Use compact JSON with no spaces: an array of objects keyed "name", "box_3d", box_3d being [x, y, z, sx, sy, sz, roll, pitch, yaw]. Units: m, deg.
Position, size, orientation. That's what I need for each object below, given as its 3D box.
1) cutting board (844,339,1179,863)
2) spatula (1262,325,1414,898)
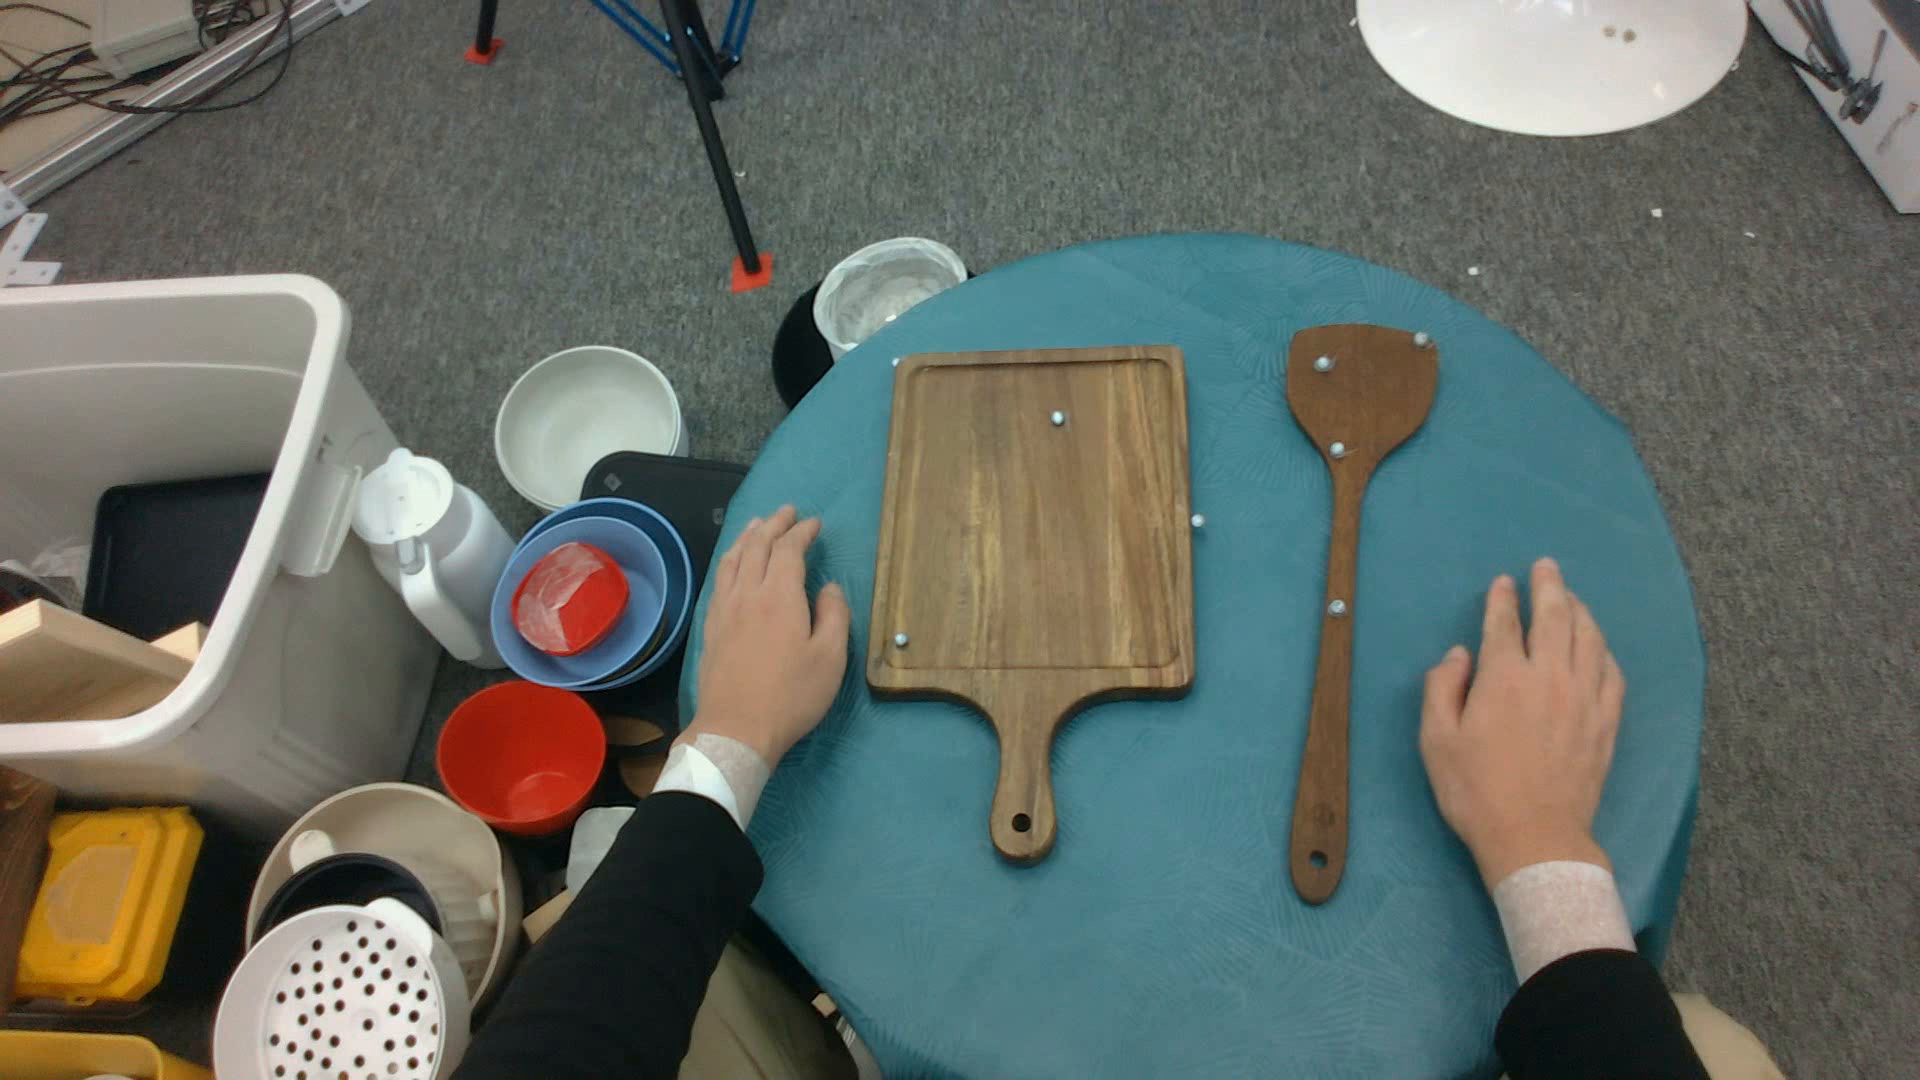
[{"name":"cutting board","box_3d":[0.030,0.023,0.845,0.201,0.023,0.353,-1,59,6]},{"name":"spatula","box_3d":[0.217,0.024,0.827,0.096,0.016,0.387,7,61,11]}]
